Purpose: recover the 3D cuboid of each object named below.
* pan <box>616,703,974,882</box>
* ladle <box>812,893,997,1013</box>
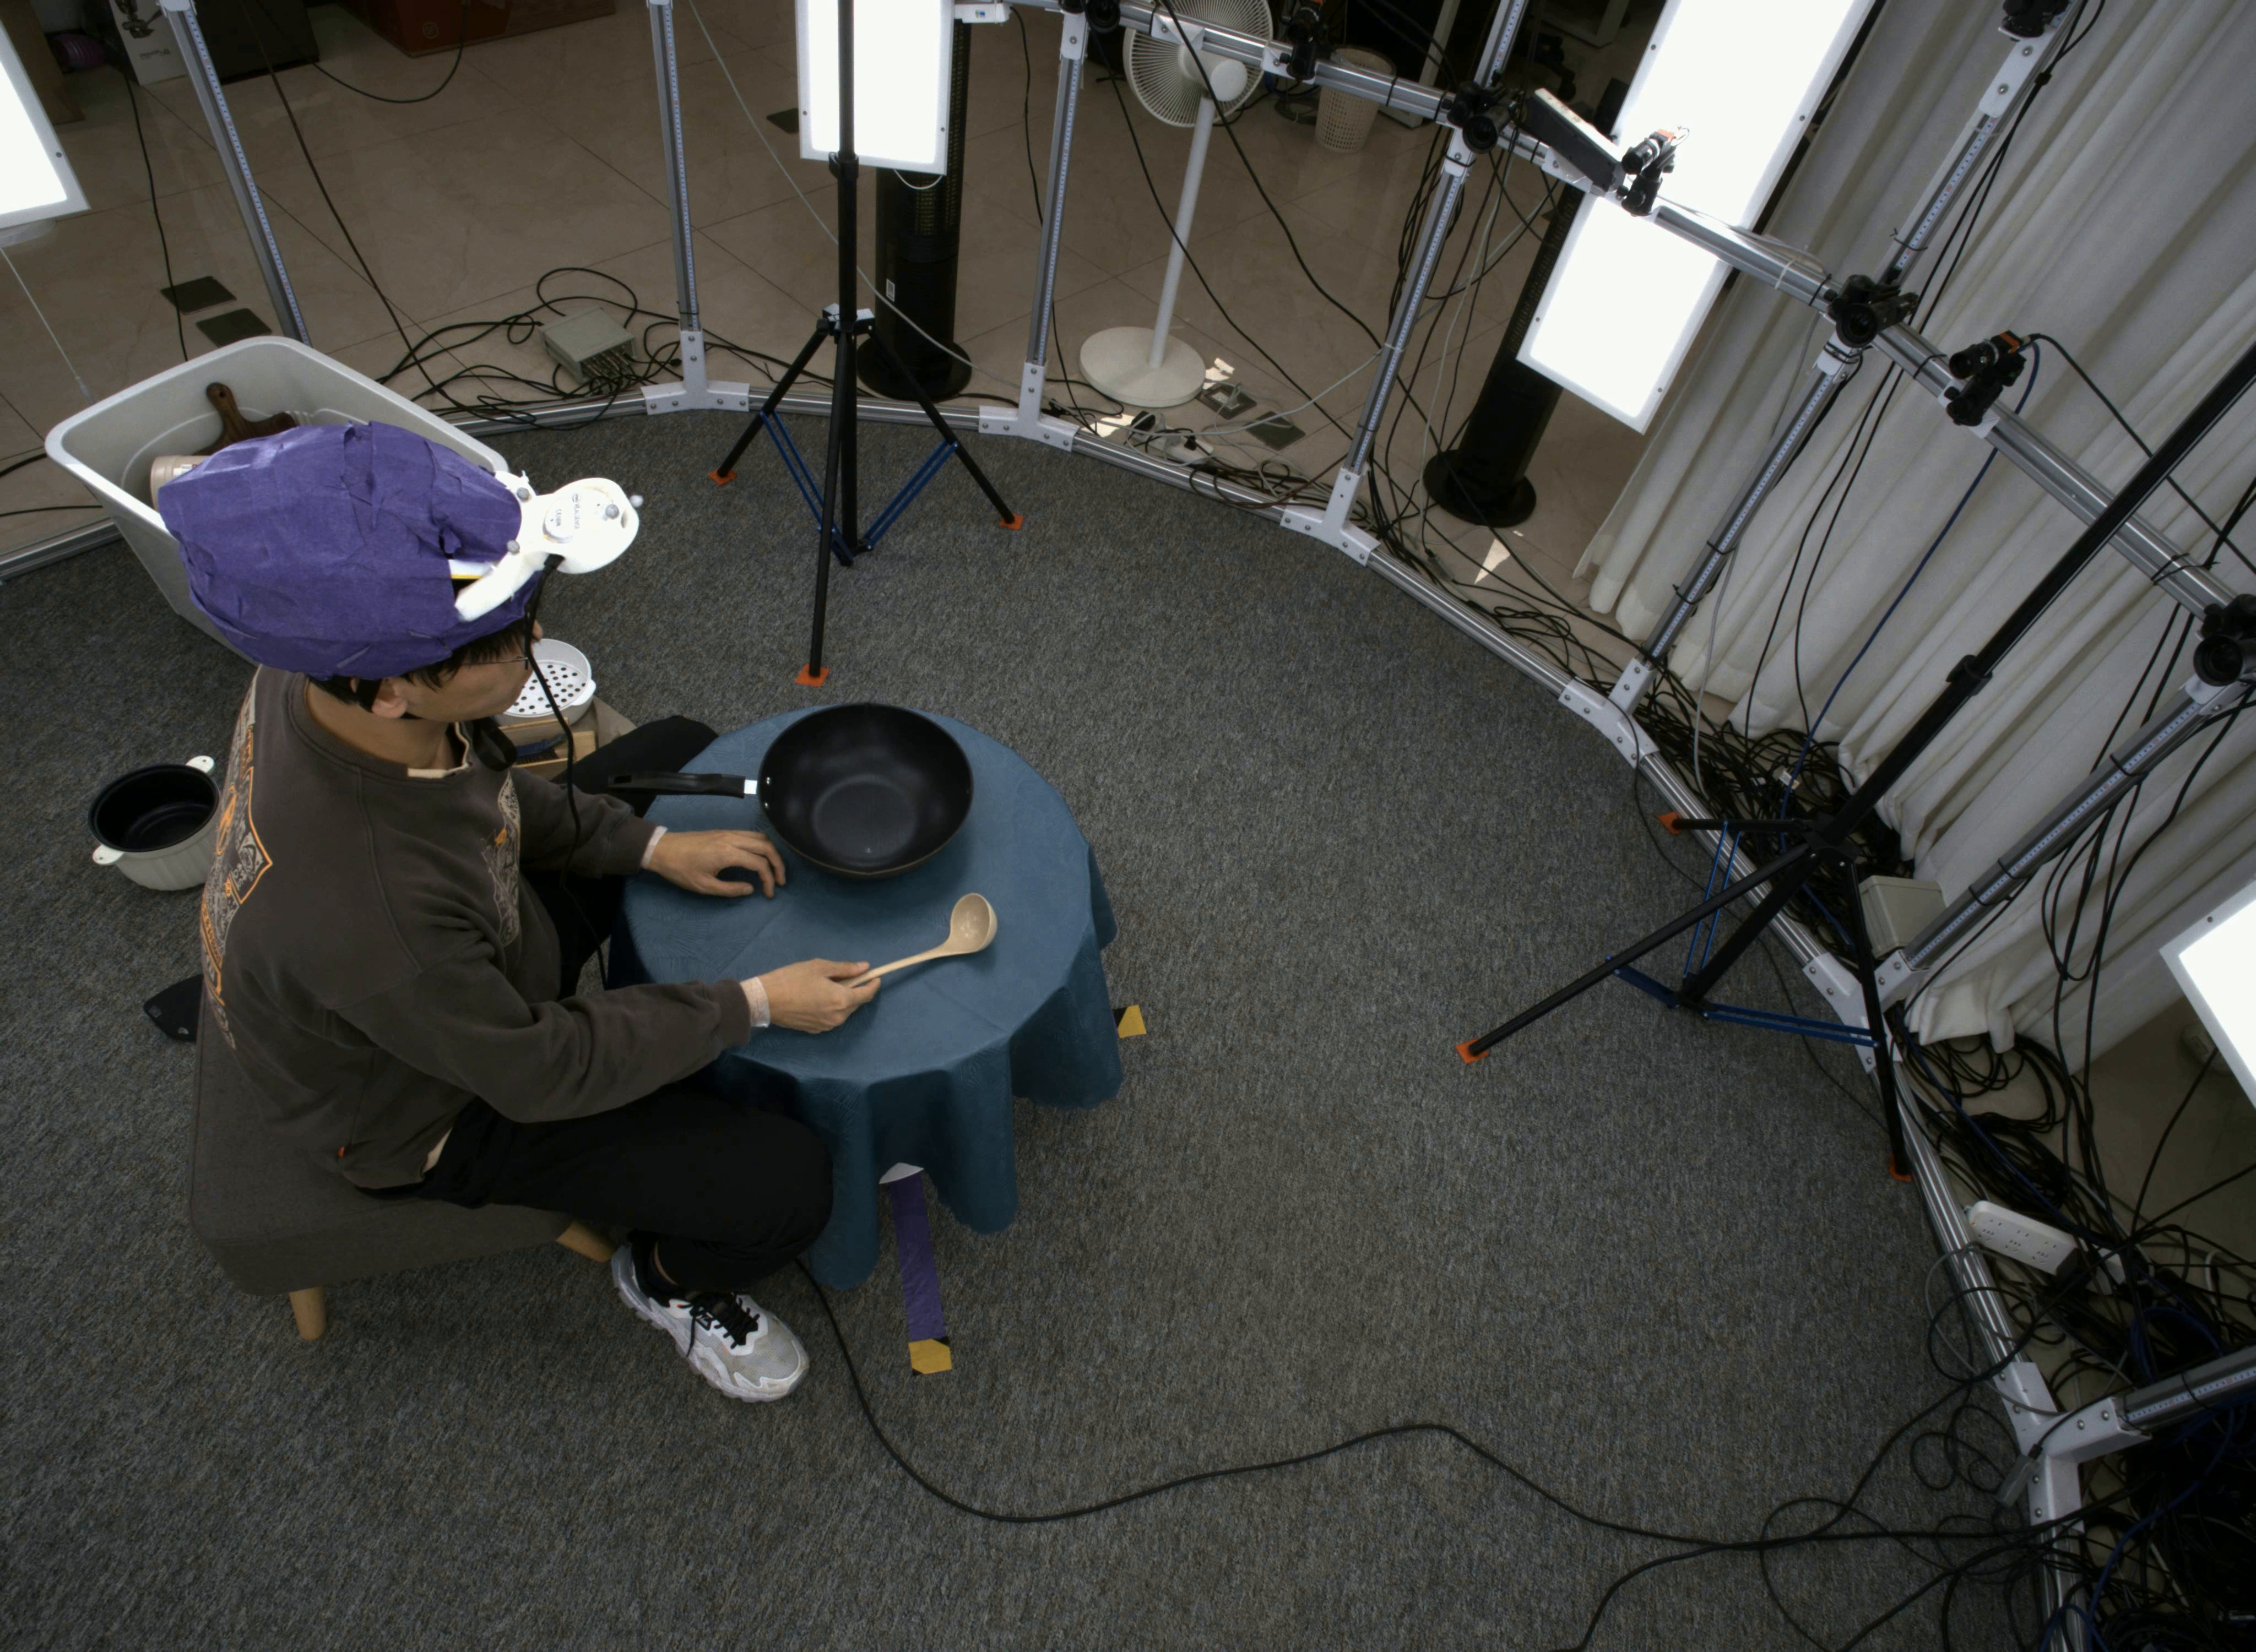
[{"bbox_3d":[-0.434,-0.031,1.706,0.463,0.089,0.282,0,55,-12],"label":"pan"},{"bbox_3d":[-0.274,0.152,1.600,0.256,0.074,0.070,-22,56,-36],"label":"ladle"}]
